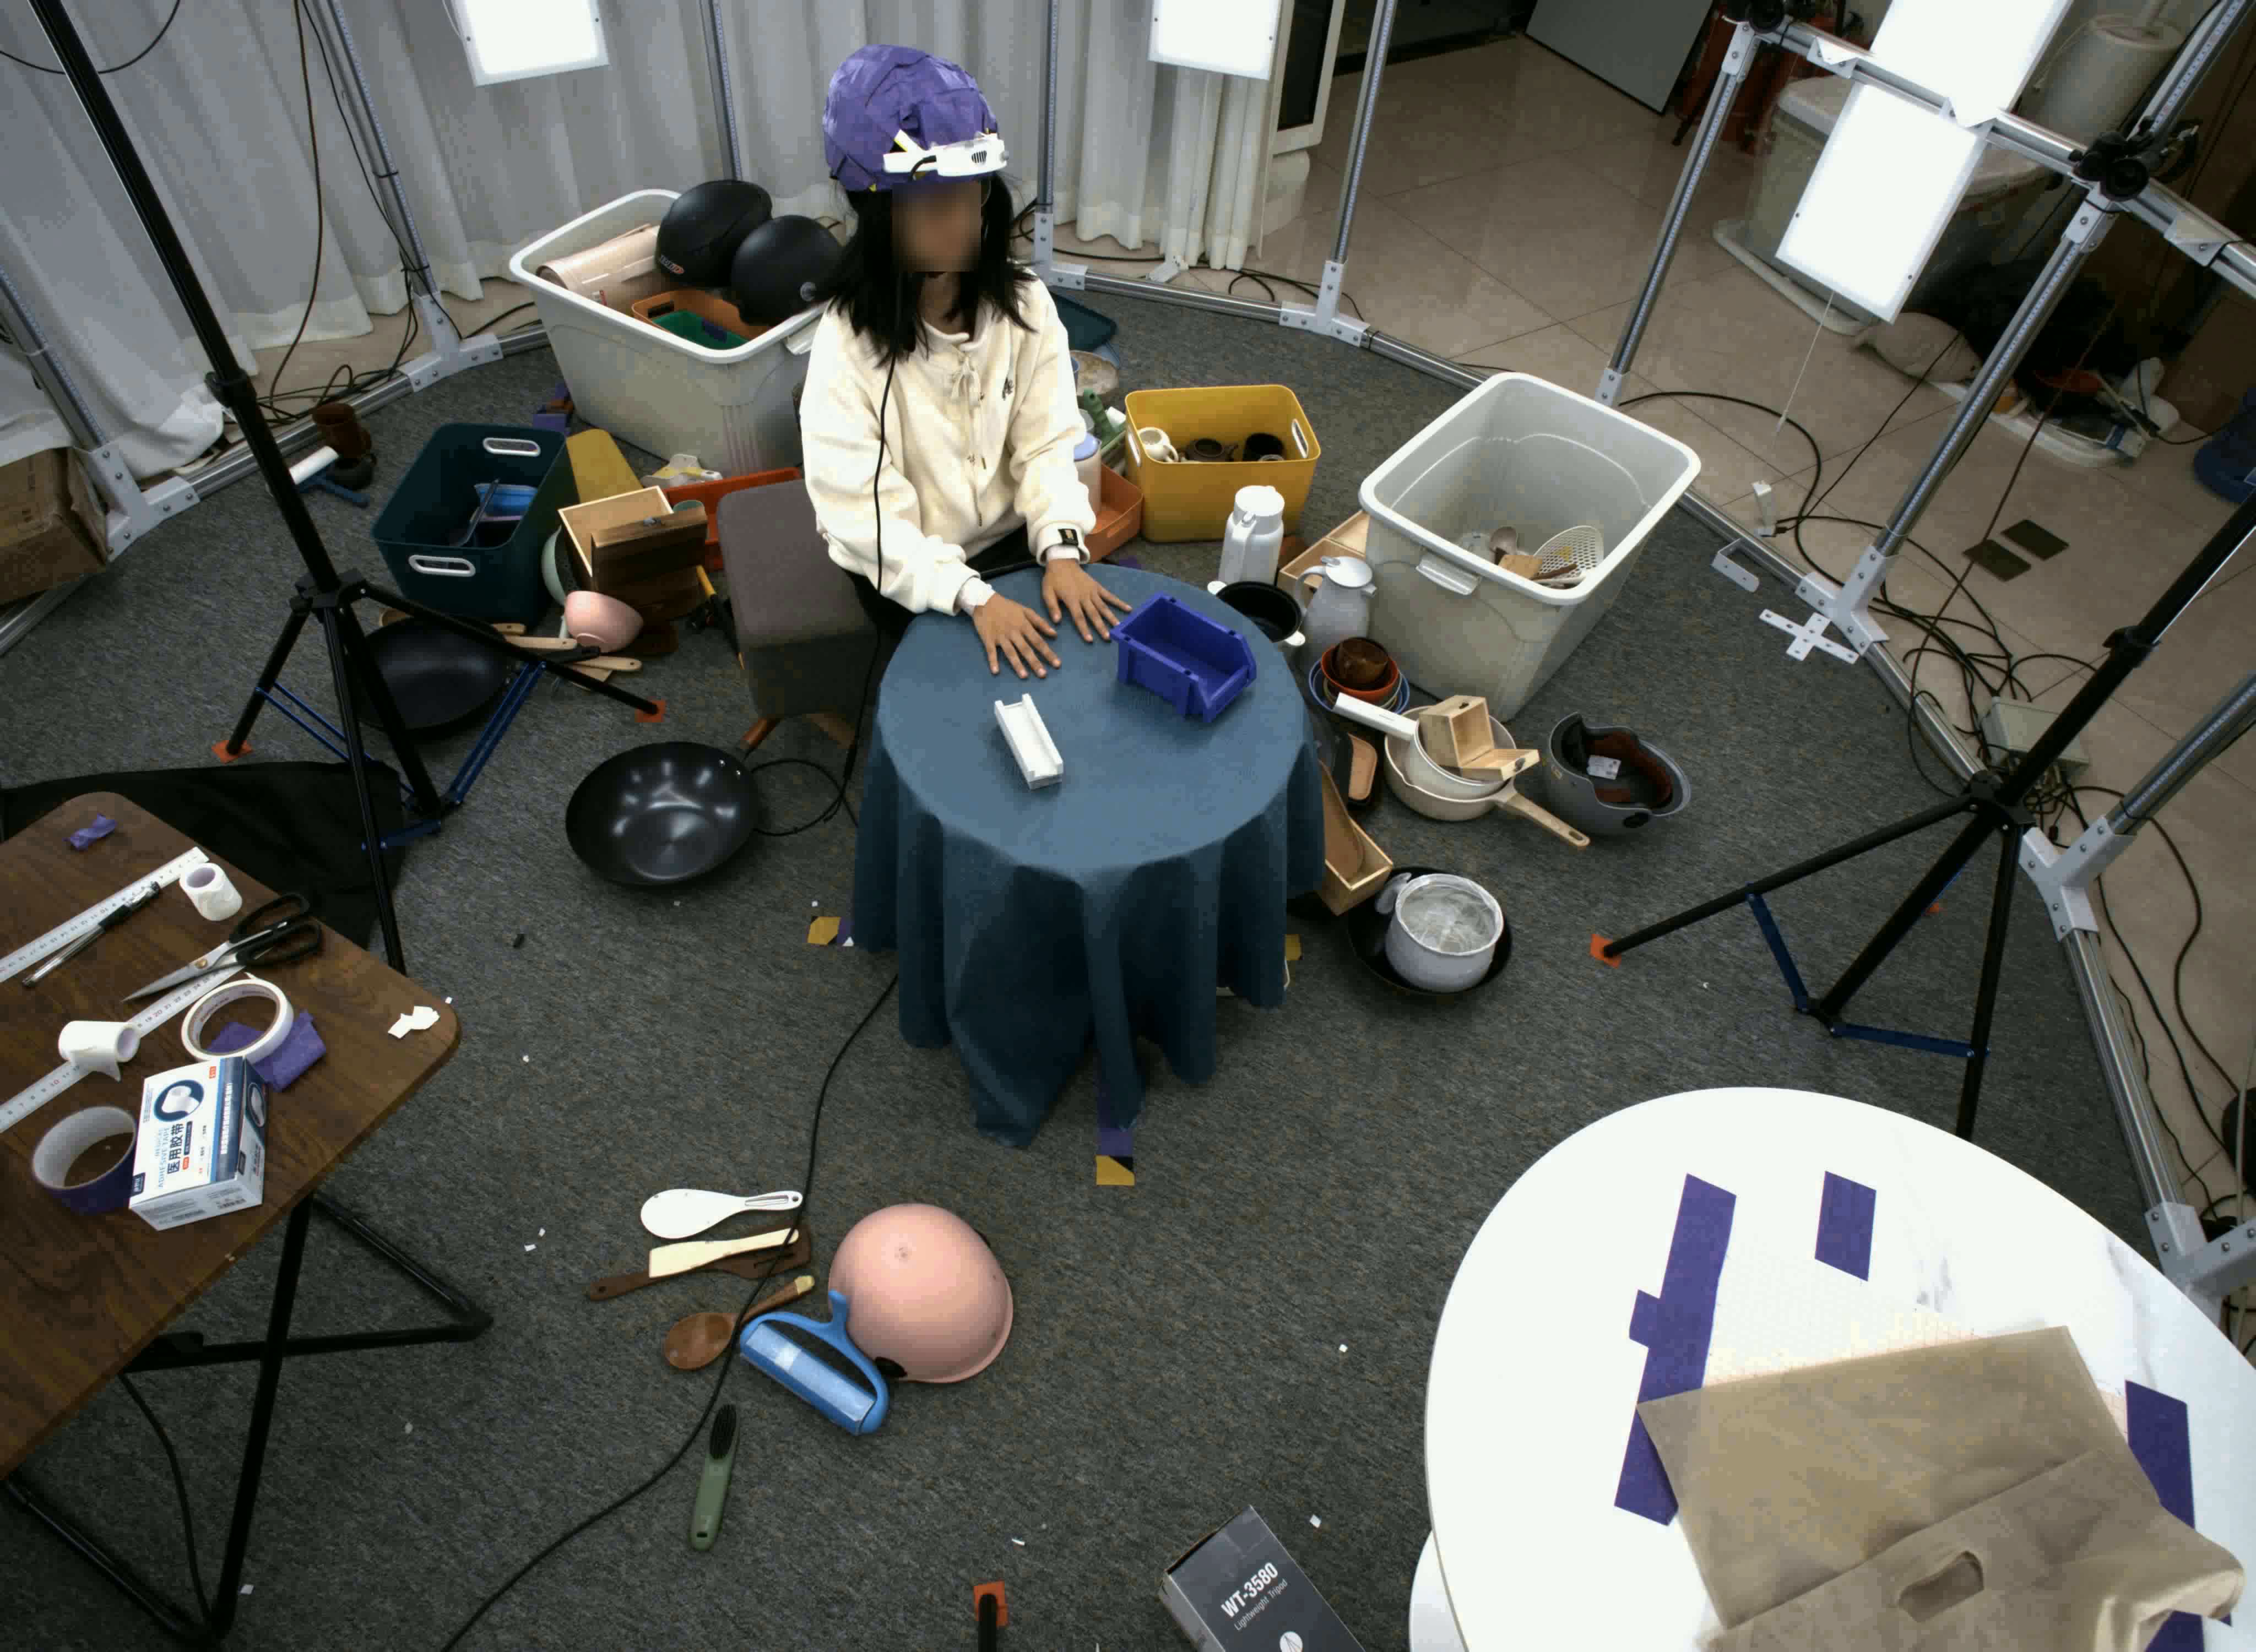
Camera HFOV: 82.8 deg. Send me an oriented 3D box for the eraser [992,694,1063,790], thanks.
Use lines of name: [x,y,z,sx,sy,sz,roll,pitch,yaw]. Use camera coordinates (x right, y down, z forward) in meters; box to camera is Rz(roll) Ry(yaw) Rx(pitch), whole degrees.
eraser: [-0.136,-0.114,1.729,0.050,0.045,0.137,-18,54,-16]

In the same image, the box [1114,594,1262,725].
box: [0.087,-0.234,1.826,0.182,0.080,0.126,33,55,25]
